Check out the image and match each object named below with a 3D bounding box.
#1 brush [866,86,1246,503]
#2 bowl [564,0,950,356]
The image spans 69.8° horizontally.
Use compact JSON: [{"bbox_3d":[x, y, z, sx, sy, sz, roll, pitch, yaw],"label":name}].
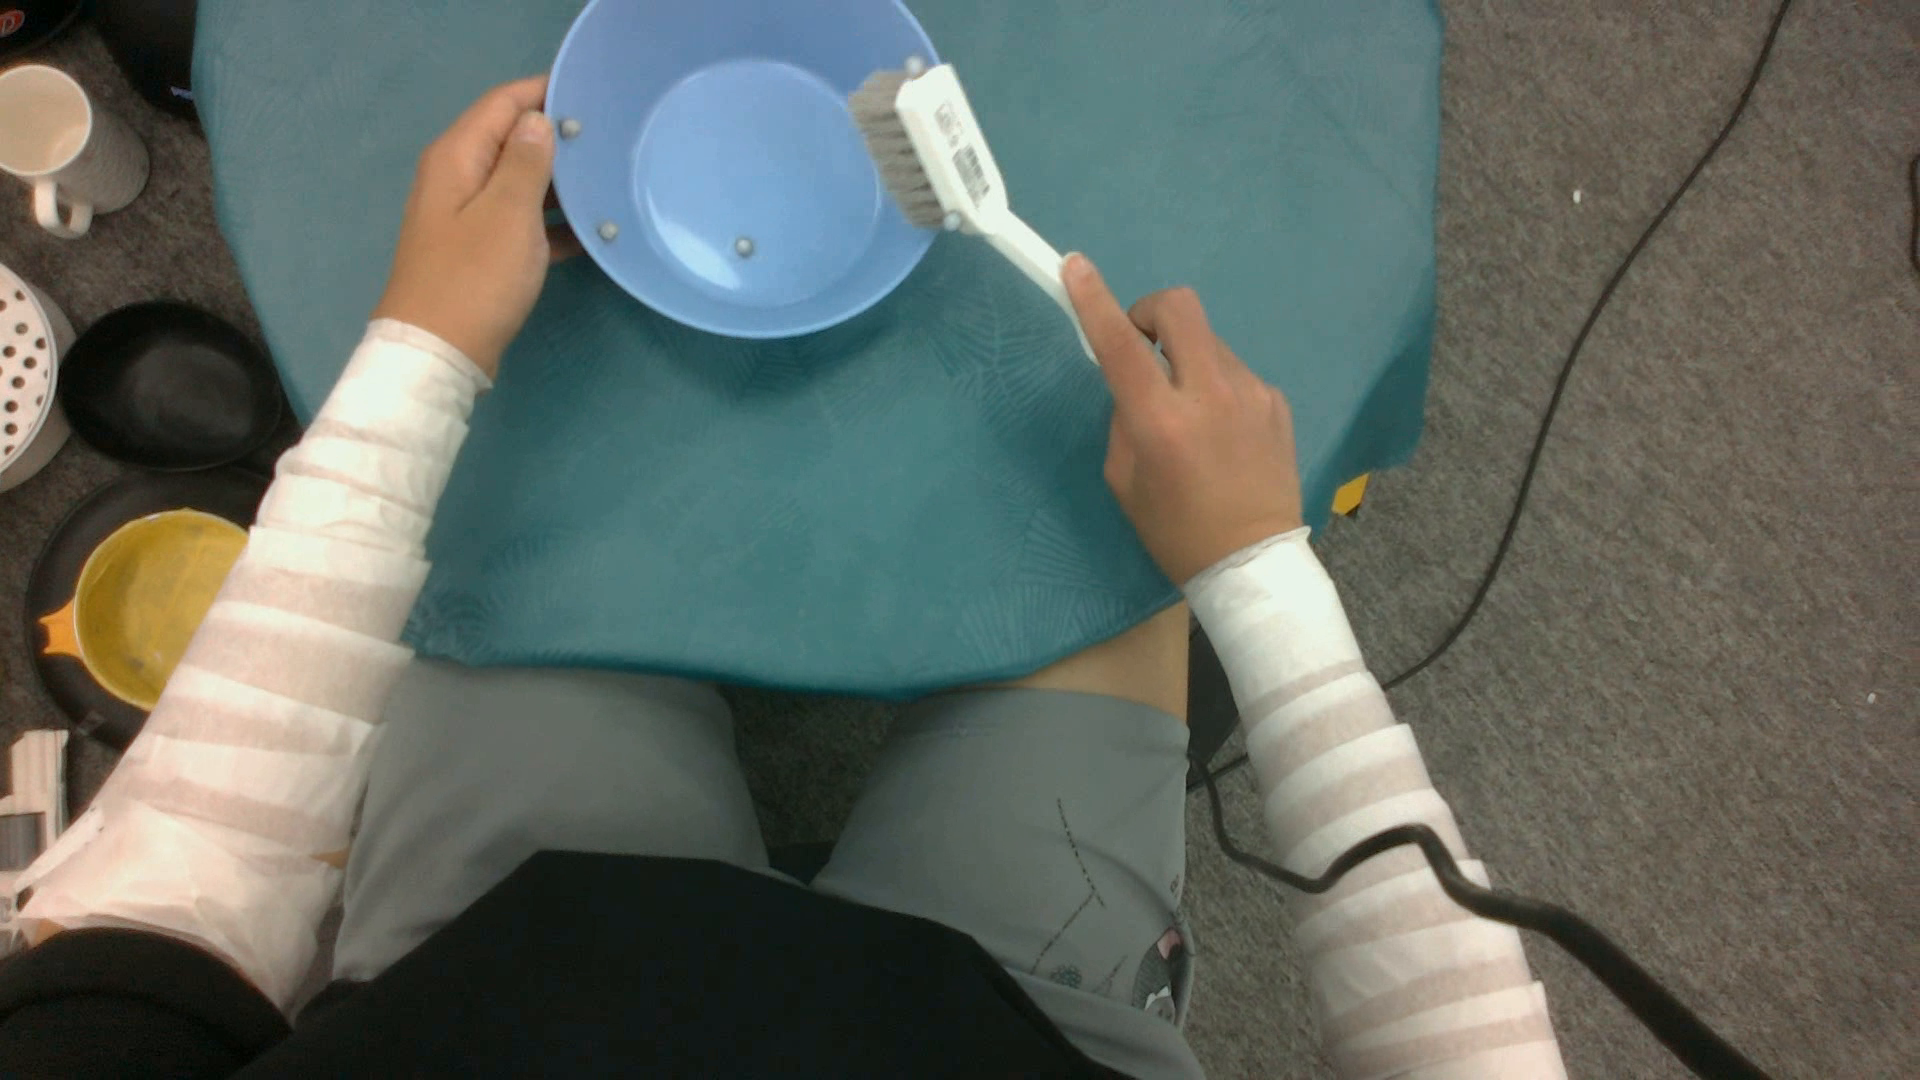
[{"bbox_3d":[0.046,-0.101,0.622,0.243,0.050,0.034,48,48,-22],"label":"brush"},{"bbox_3d":[-0.090,-0.165,0.644,0.176,0.070,0.176,1,84,-6],"label":"bowl"}]
